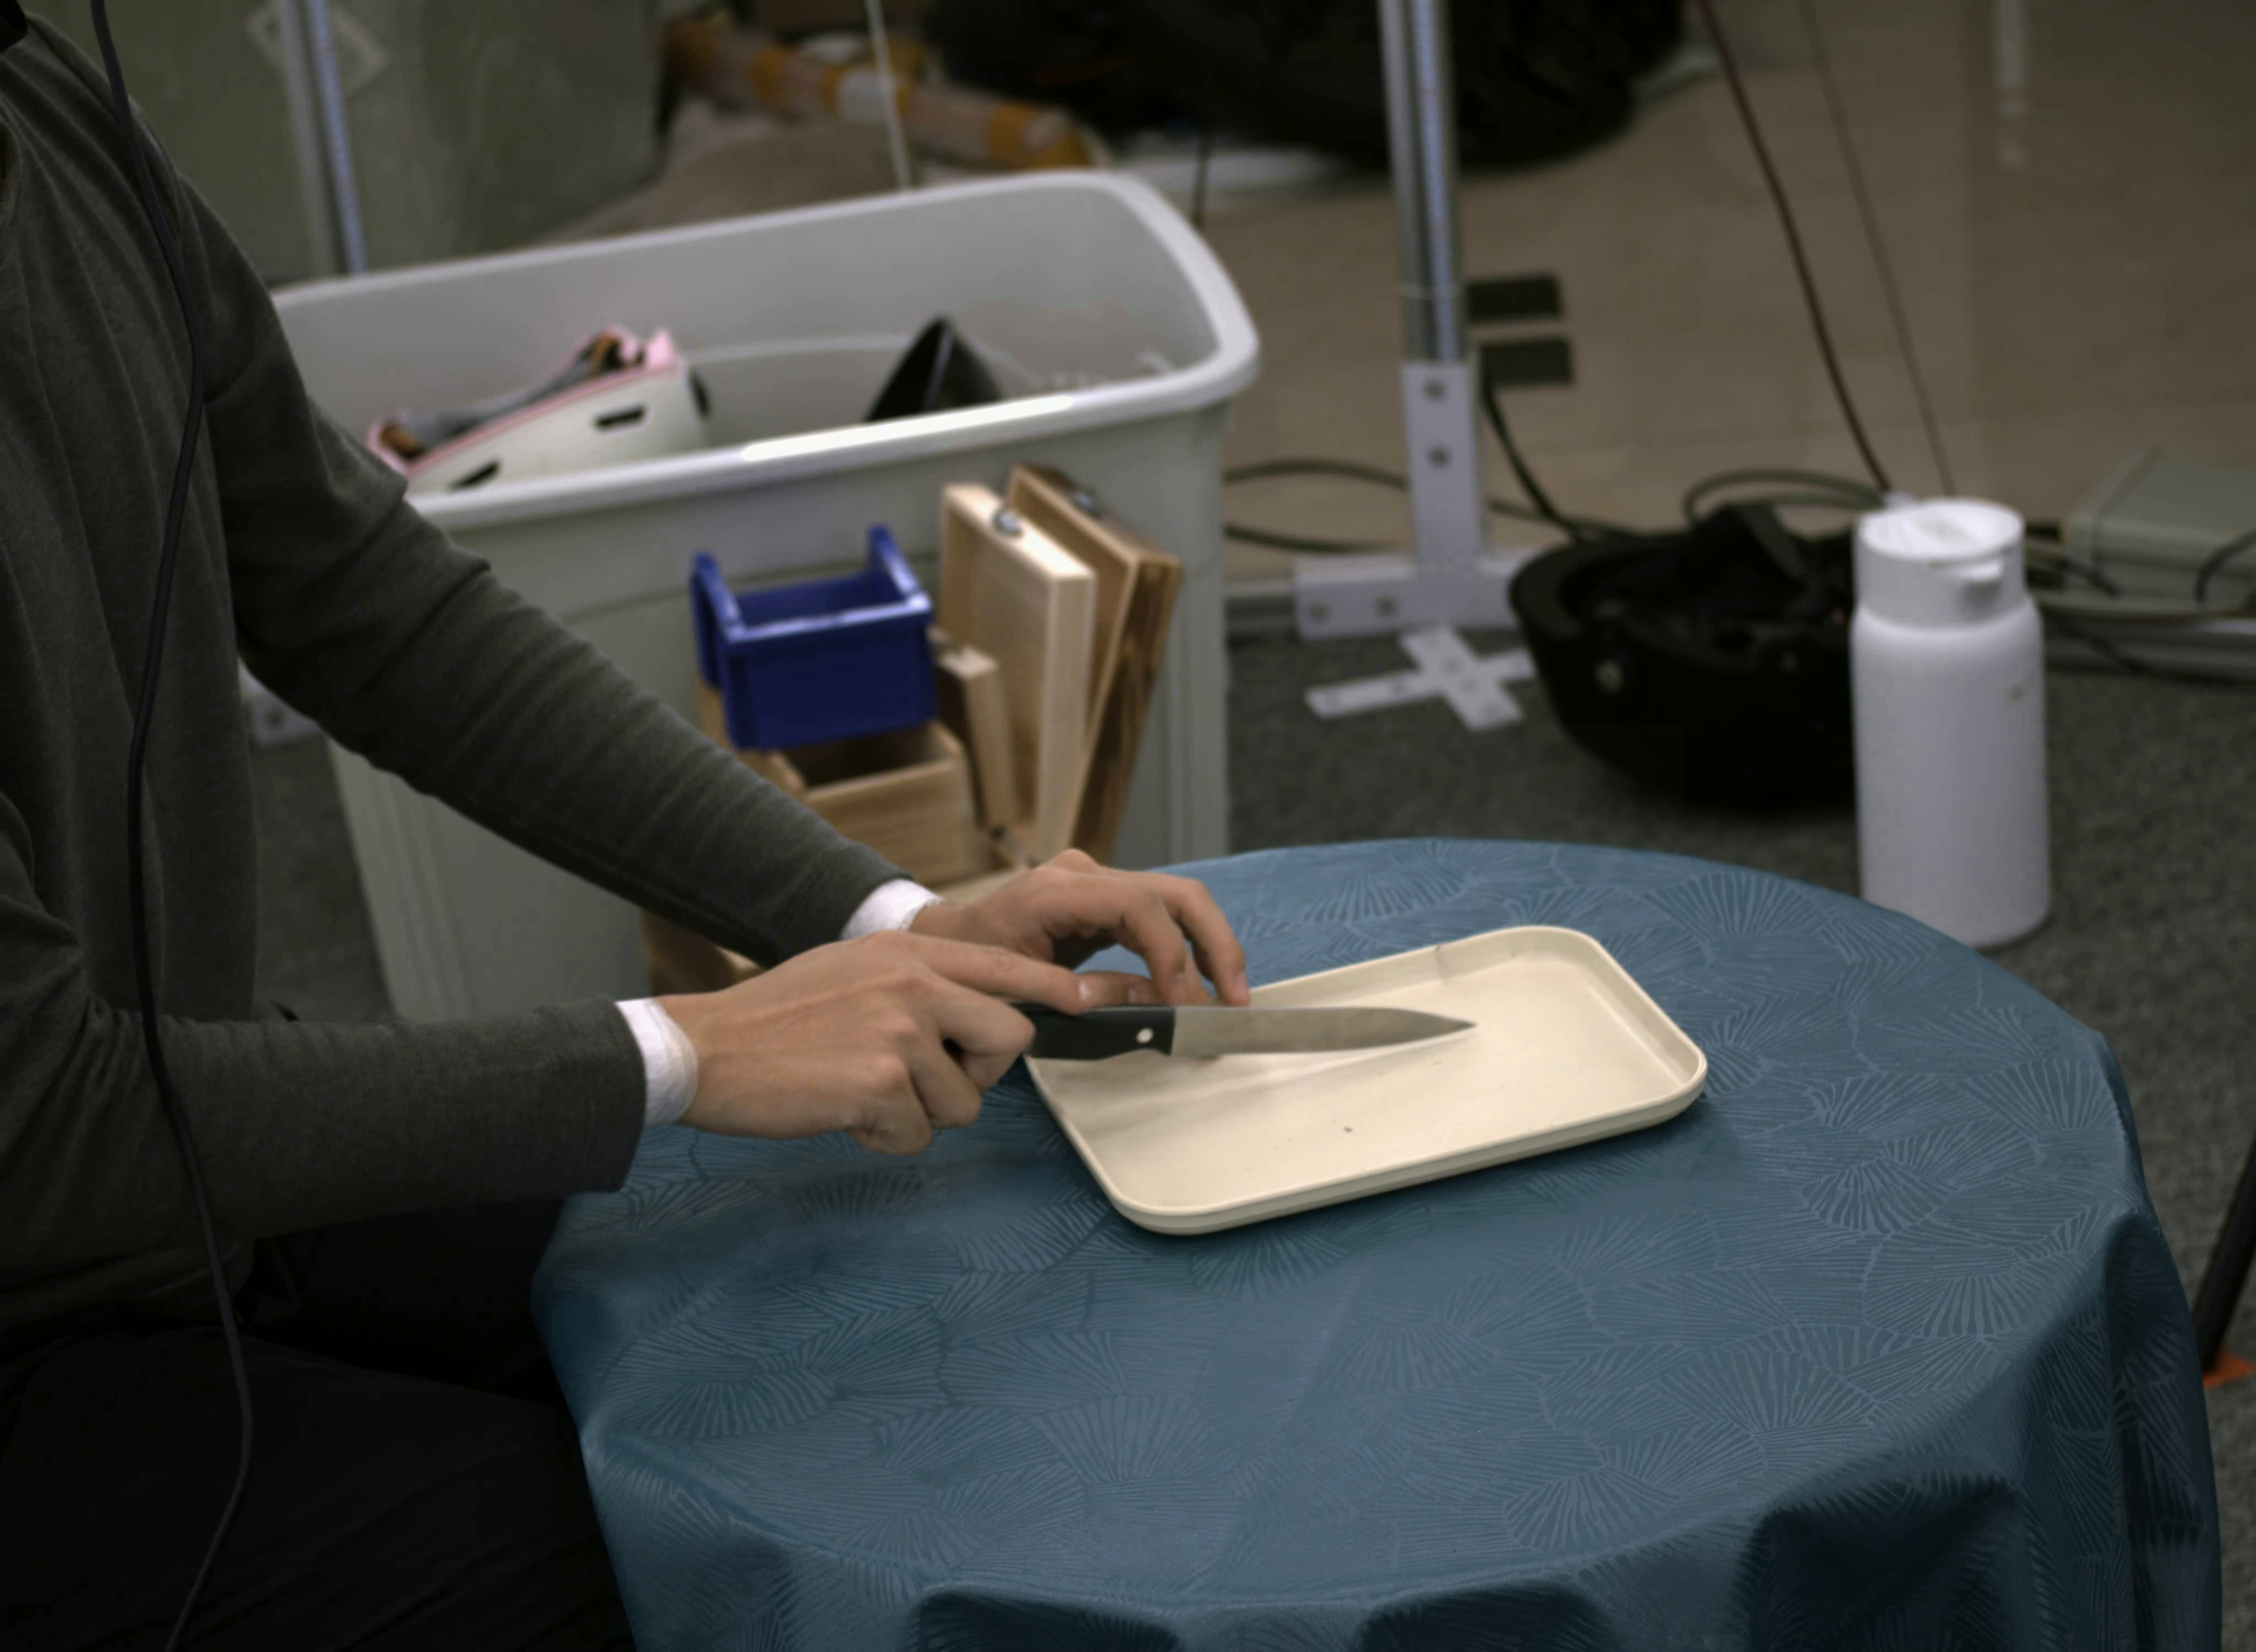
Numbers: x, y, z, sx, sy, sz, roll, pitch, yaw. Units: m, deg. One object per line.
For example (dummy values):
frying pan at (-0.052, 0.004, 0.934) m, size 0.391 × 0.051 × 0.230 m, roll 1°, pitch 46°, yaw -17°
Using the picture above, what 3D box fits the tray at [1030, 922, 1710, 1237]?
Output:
tray at (0.092, 0.098, 2.195) m, size 0.239 × 0.018 × 0.169 m, roll -12°, pitch 27°, yaw -13°

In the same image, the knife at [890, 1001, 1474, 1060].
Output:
knife at (0.023, 0.079, 2.195) m, size 0.238 × 0.025 × 0.016 m, roll 1°, pitch 31°, yaw -18°
